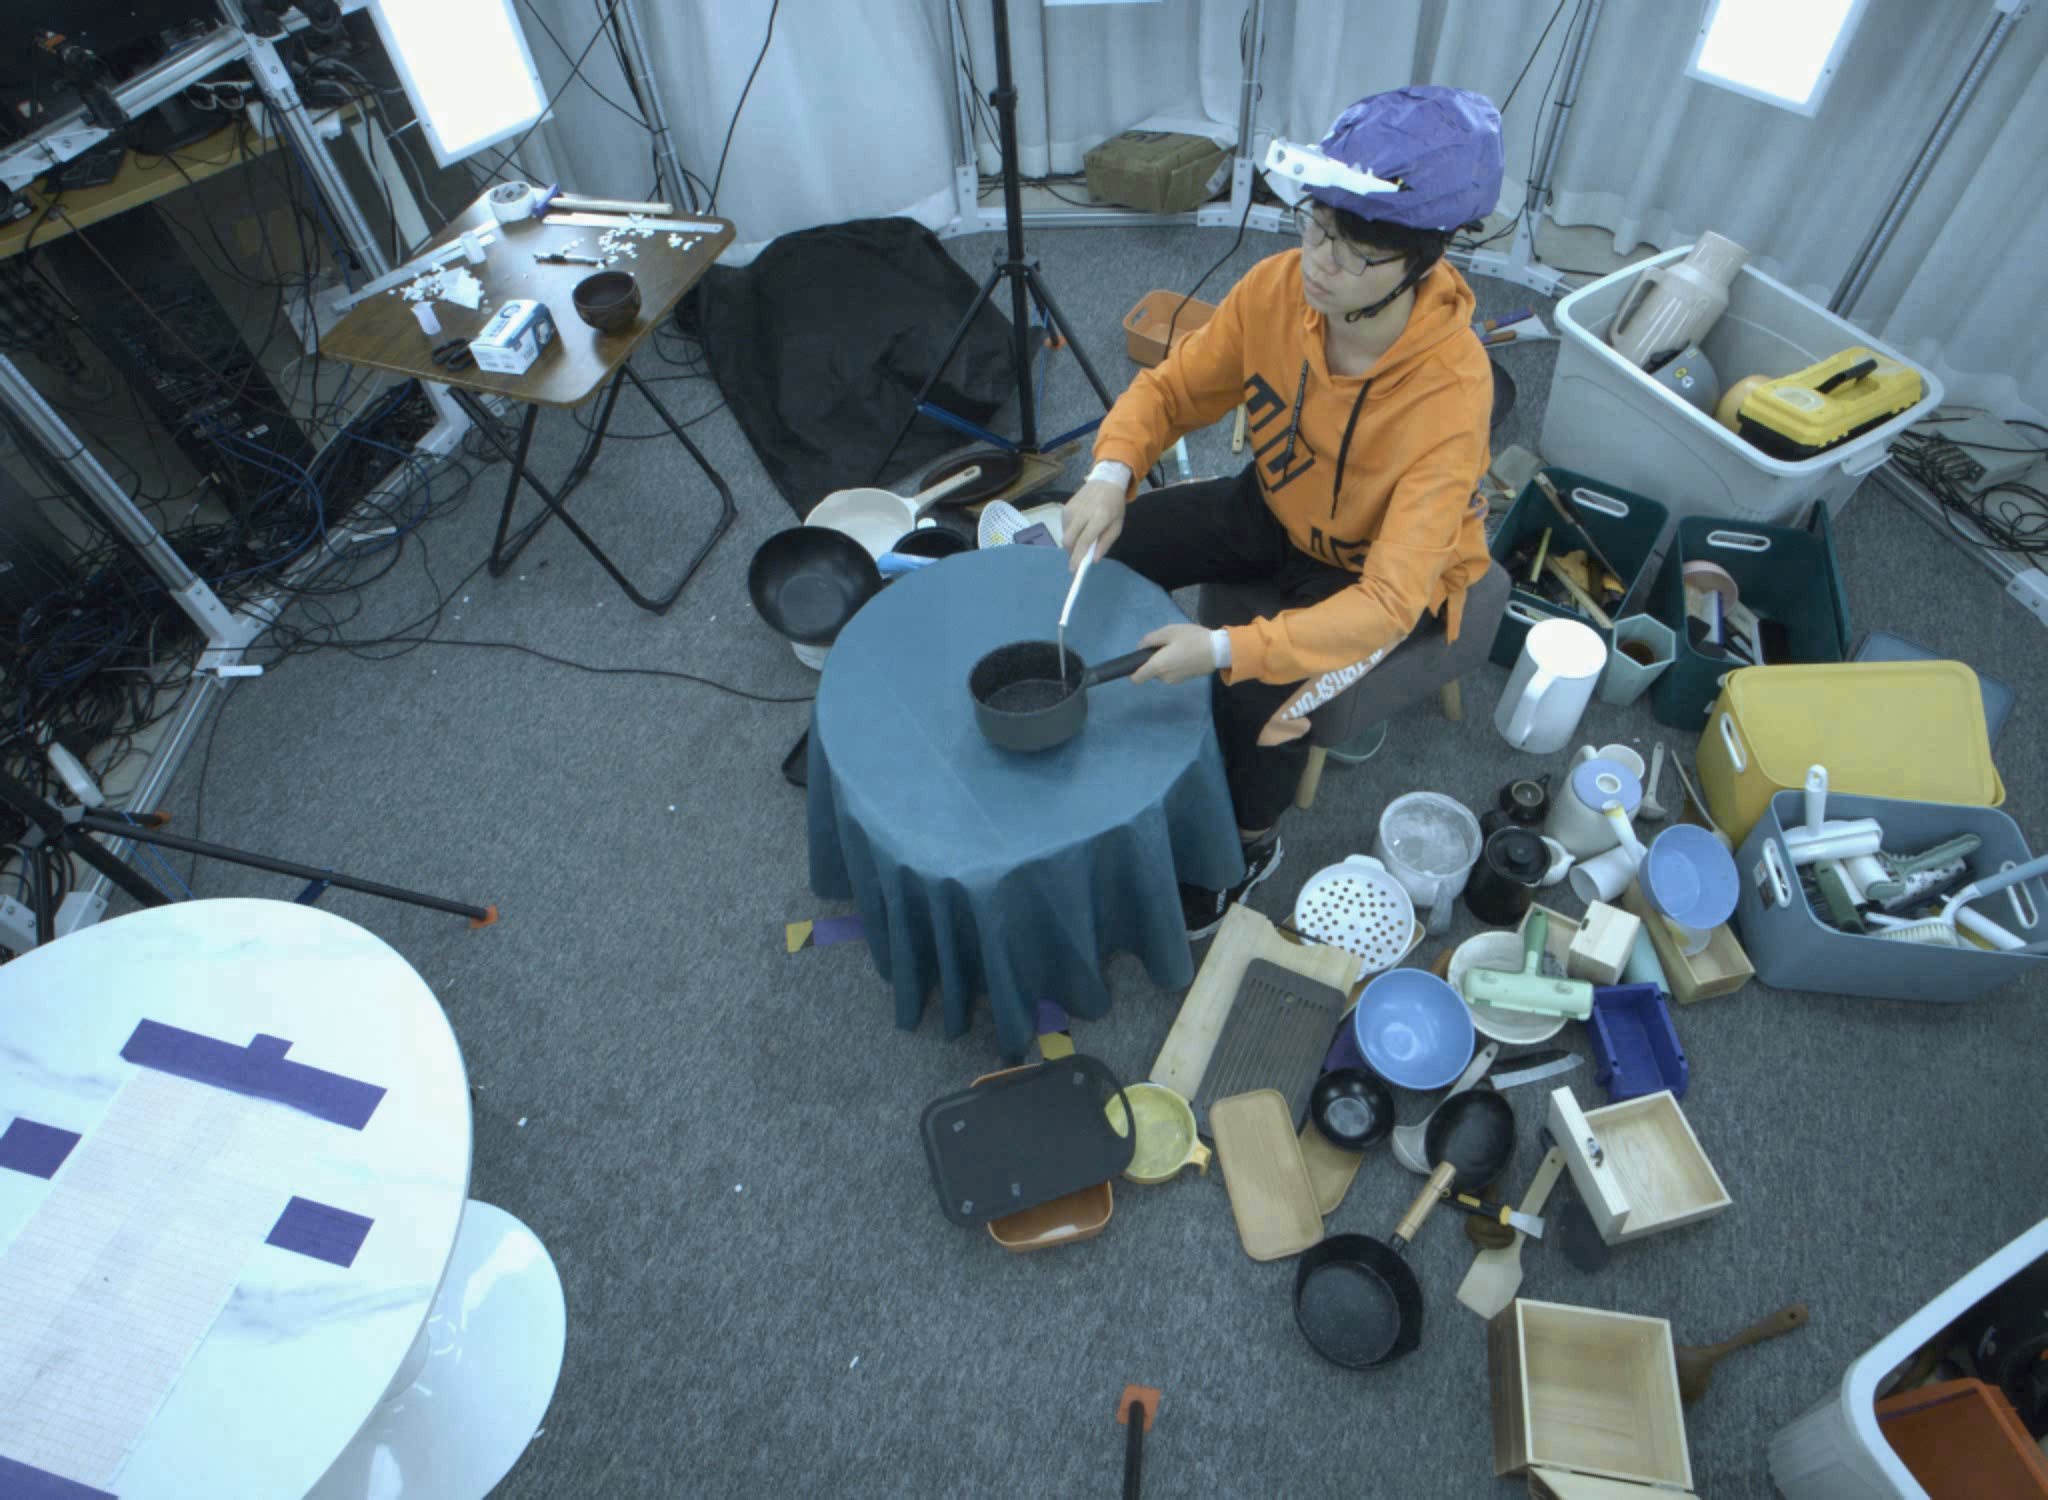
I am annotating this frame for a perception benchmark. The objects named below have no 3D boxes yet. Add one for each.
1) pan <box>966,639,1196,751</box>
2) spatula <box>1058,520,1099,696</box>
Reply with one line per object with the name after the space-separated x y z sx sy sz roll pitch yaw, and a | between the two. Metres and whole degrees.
0.085 -0.094 1.768 0.329 0.087 0.169 -10 44 -1 | pan
0.071 -0.207 1.769 0.032 0.059 0.286 9 65 4 | spatula
